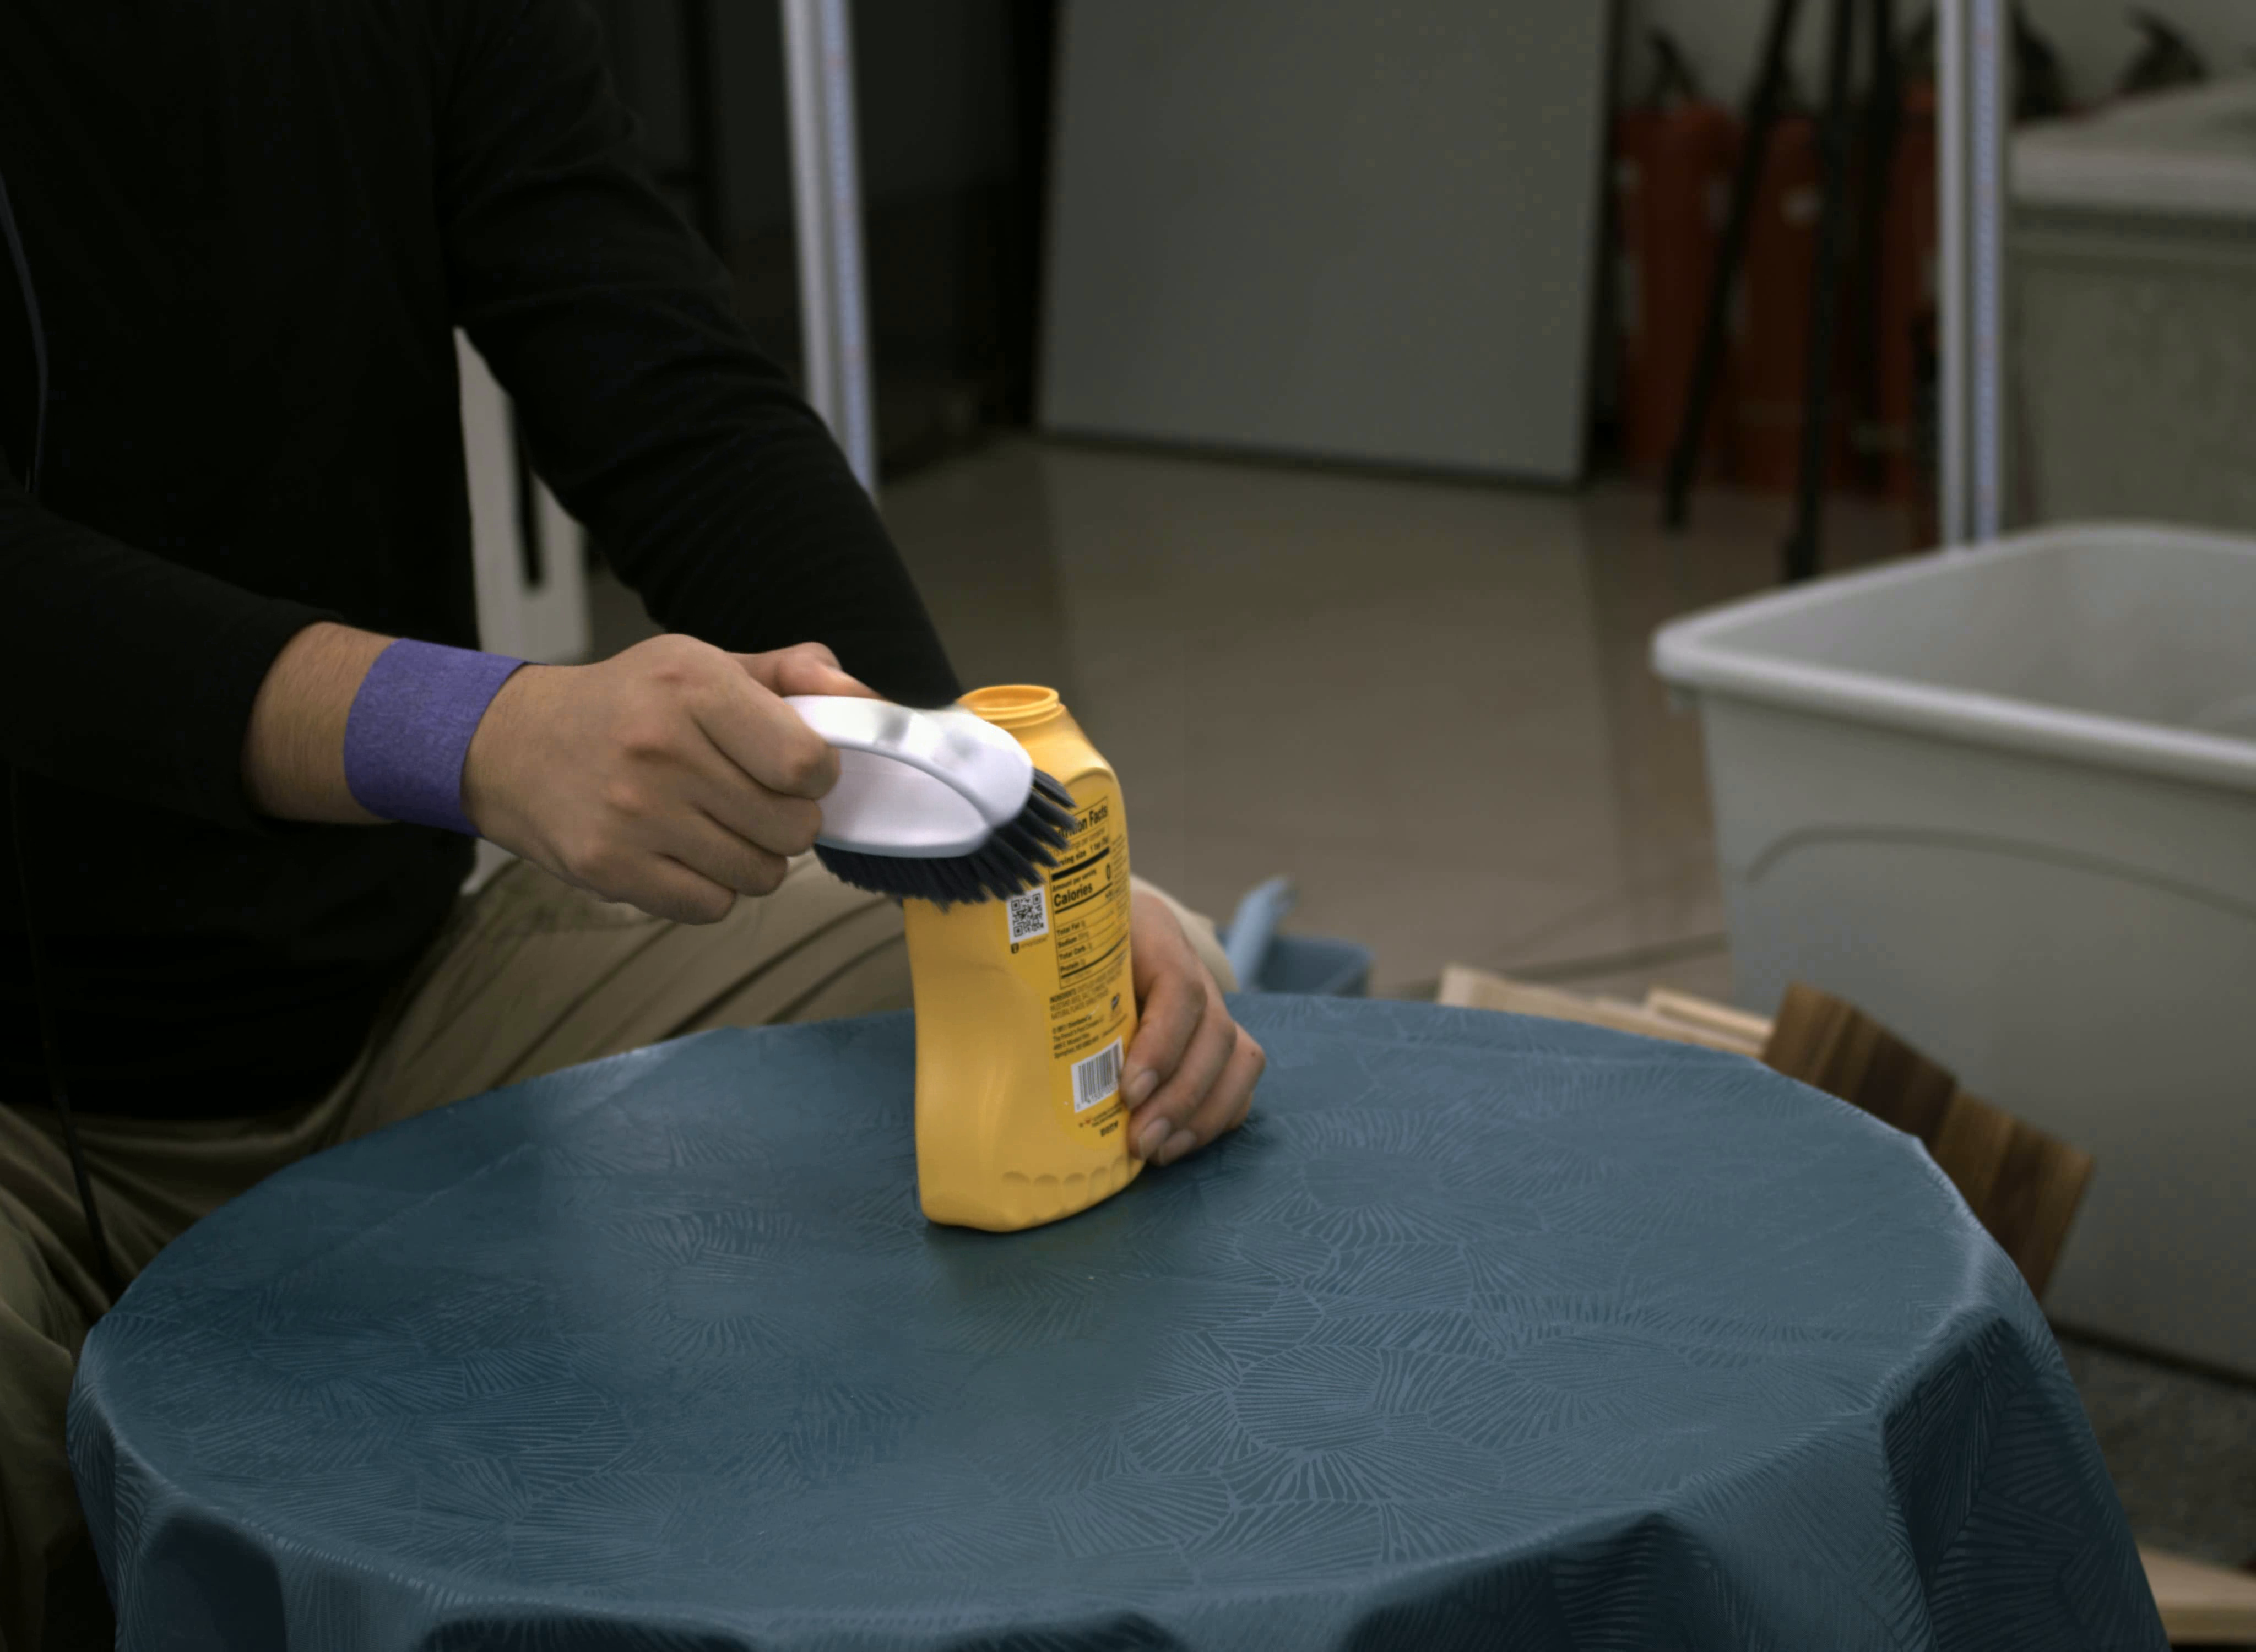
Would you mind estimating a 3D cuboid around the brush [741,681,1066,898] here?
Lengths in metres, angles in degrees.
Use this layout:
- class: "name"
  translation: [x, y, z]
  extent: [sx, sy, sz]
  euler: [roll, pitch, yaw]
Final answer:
- class: "brush"
  translation: [-0.076, -0.019, 1.665]
  extent: [0.100, 0.050, 0.071]
  euler: [8, -26, 41]

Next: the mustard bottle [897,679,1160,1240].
- class: "mustard bottle"
  translation: [-0.034, 0.041, 1.750]
  extent: [0.059, 0.174, 0.096]
  euler: [2, 15, 33]
